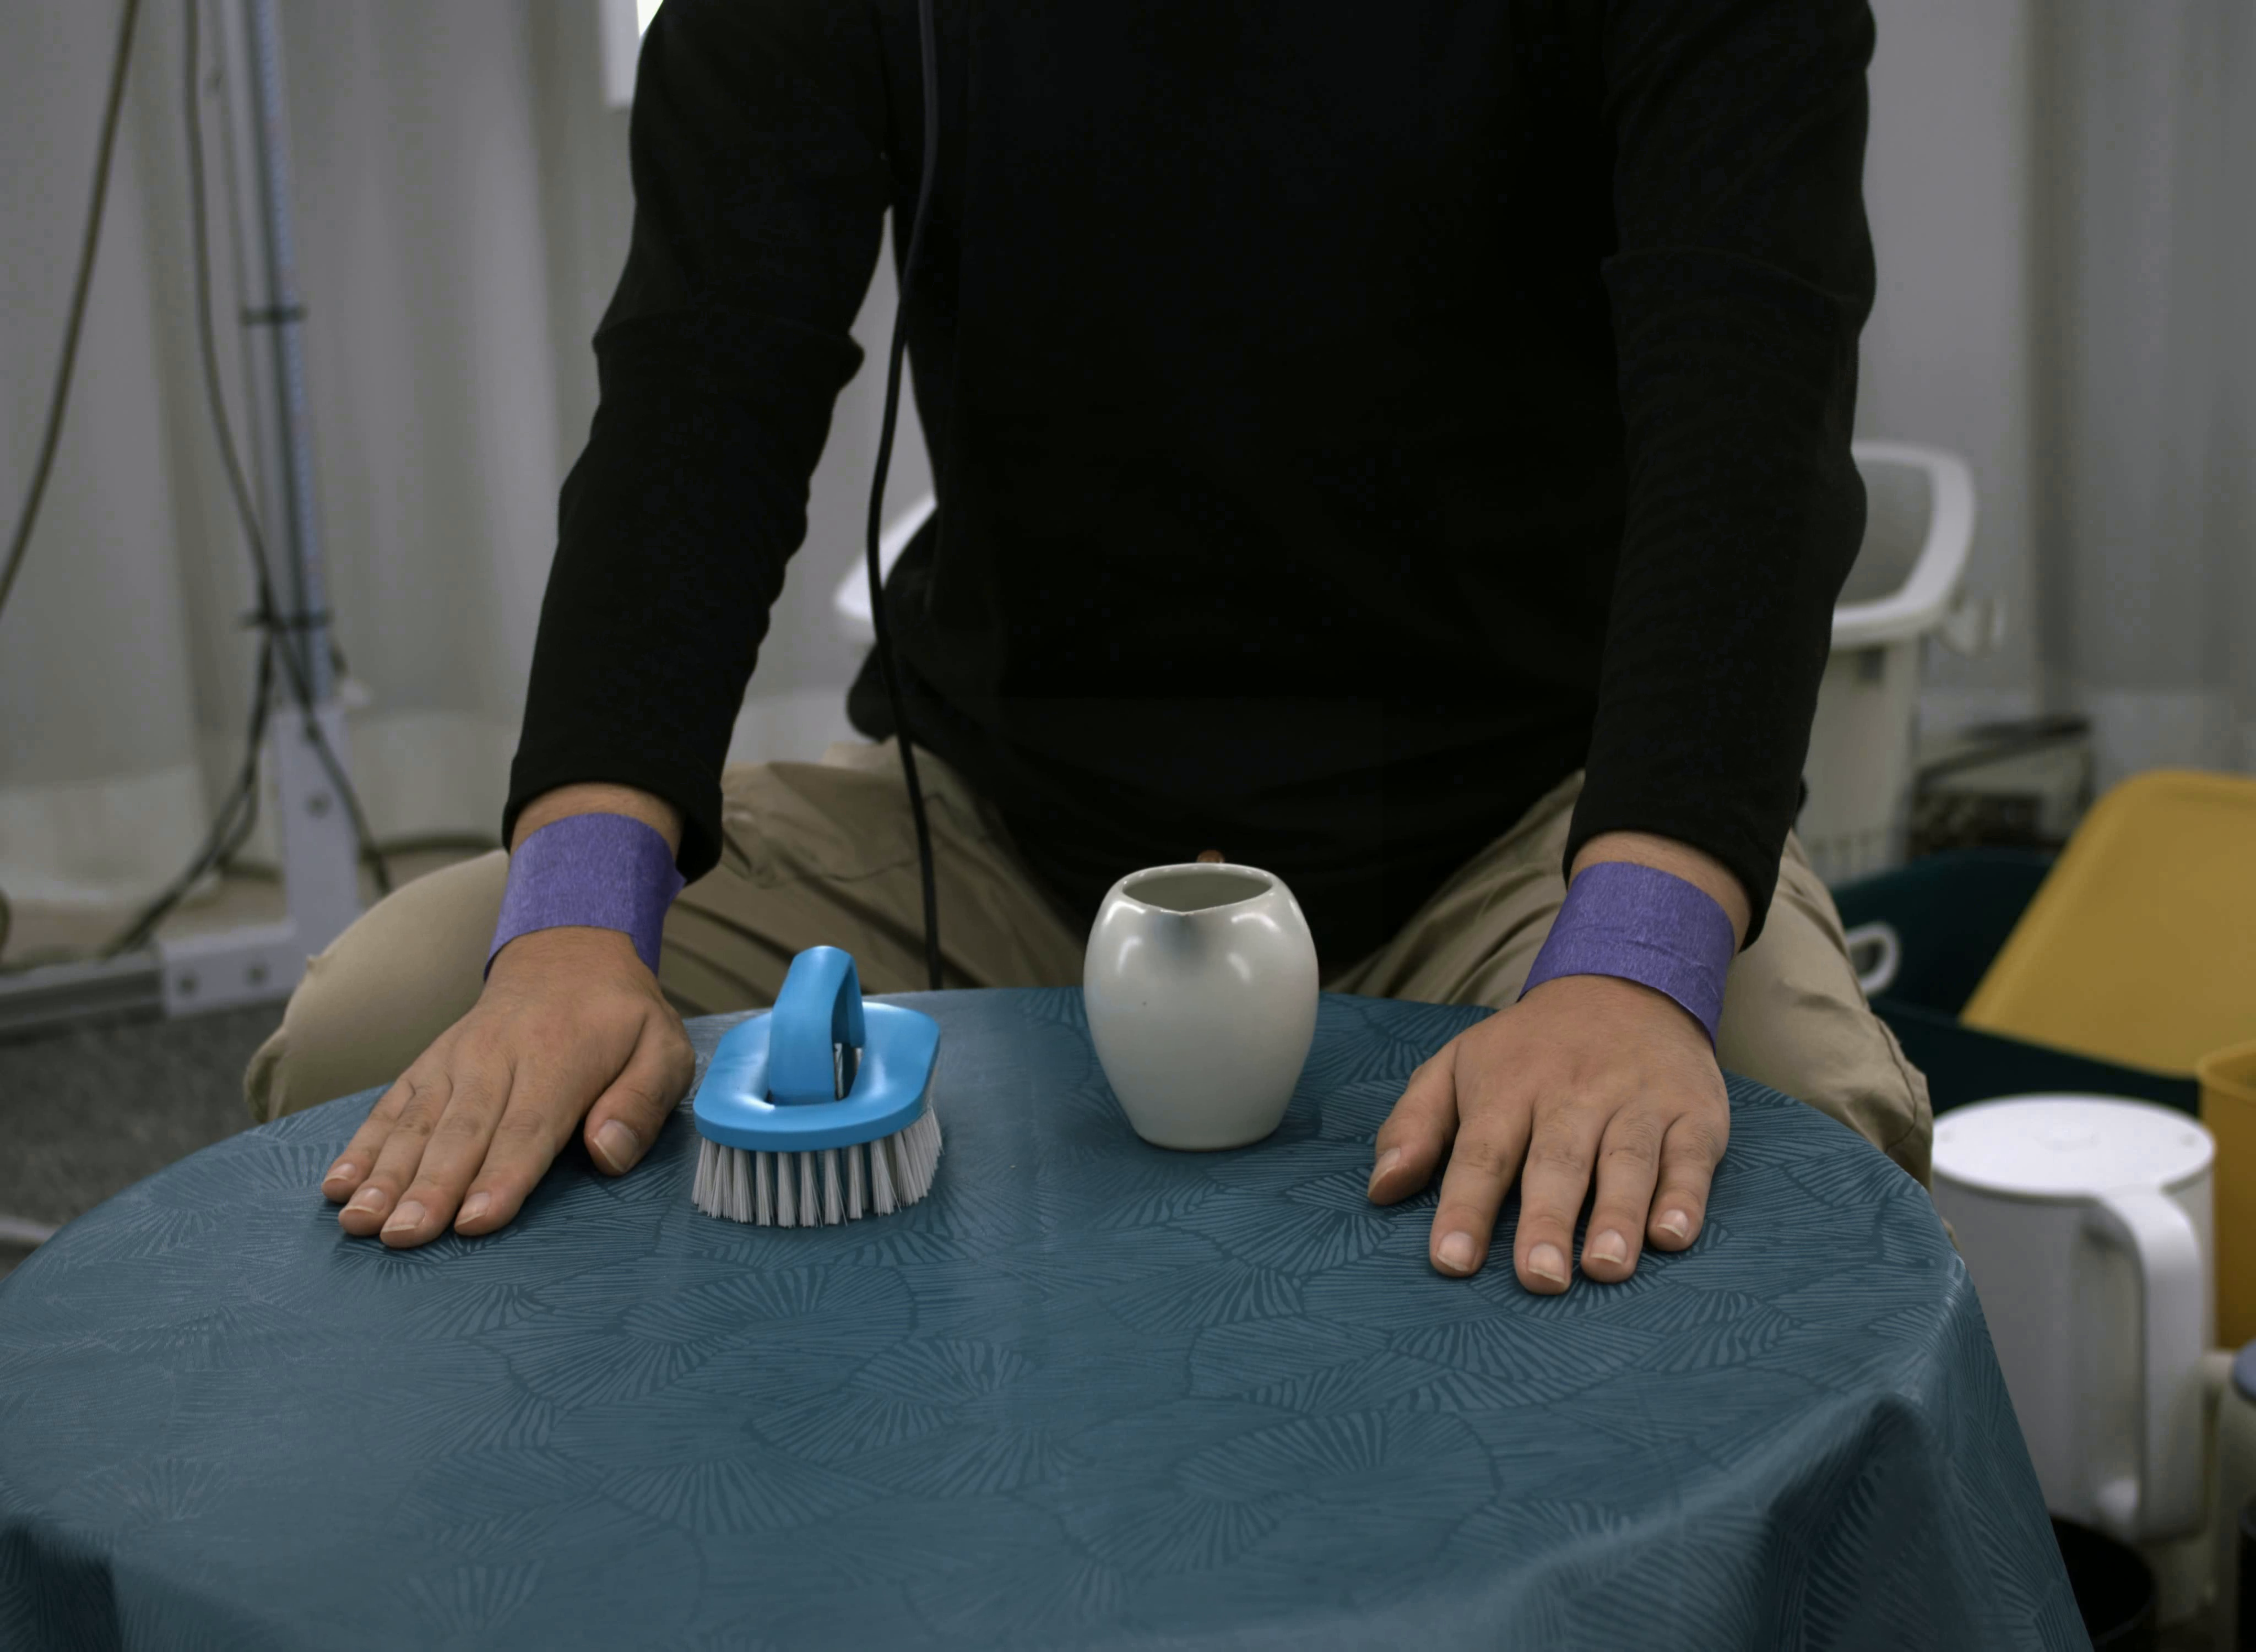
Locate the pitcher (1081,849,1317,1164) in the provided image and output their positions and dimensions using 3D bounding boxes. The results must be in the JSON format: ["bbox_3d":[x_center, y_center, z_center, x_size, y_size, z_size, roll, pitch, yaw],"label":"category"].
[{"bbox_3d":[0.024,0.057,1.759,0.076,0.087,0.120,5,19,9],"label":"pitcher"}]

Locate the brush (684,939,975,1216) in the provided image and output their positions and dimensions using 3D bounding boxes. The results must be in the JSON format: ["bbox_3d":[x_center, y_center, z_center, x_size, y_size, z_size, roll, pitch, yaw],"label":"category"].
[{"bbox_3d":[-0.097,0.075,1.757,0.084,0.063,0.142,-6,13,6],"label":"brush"}]
